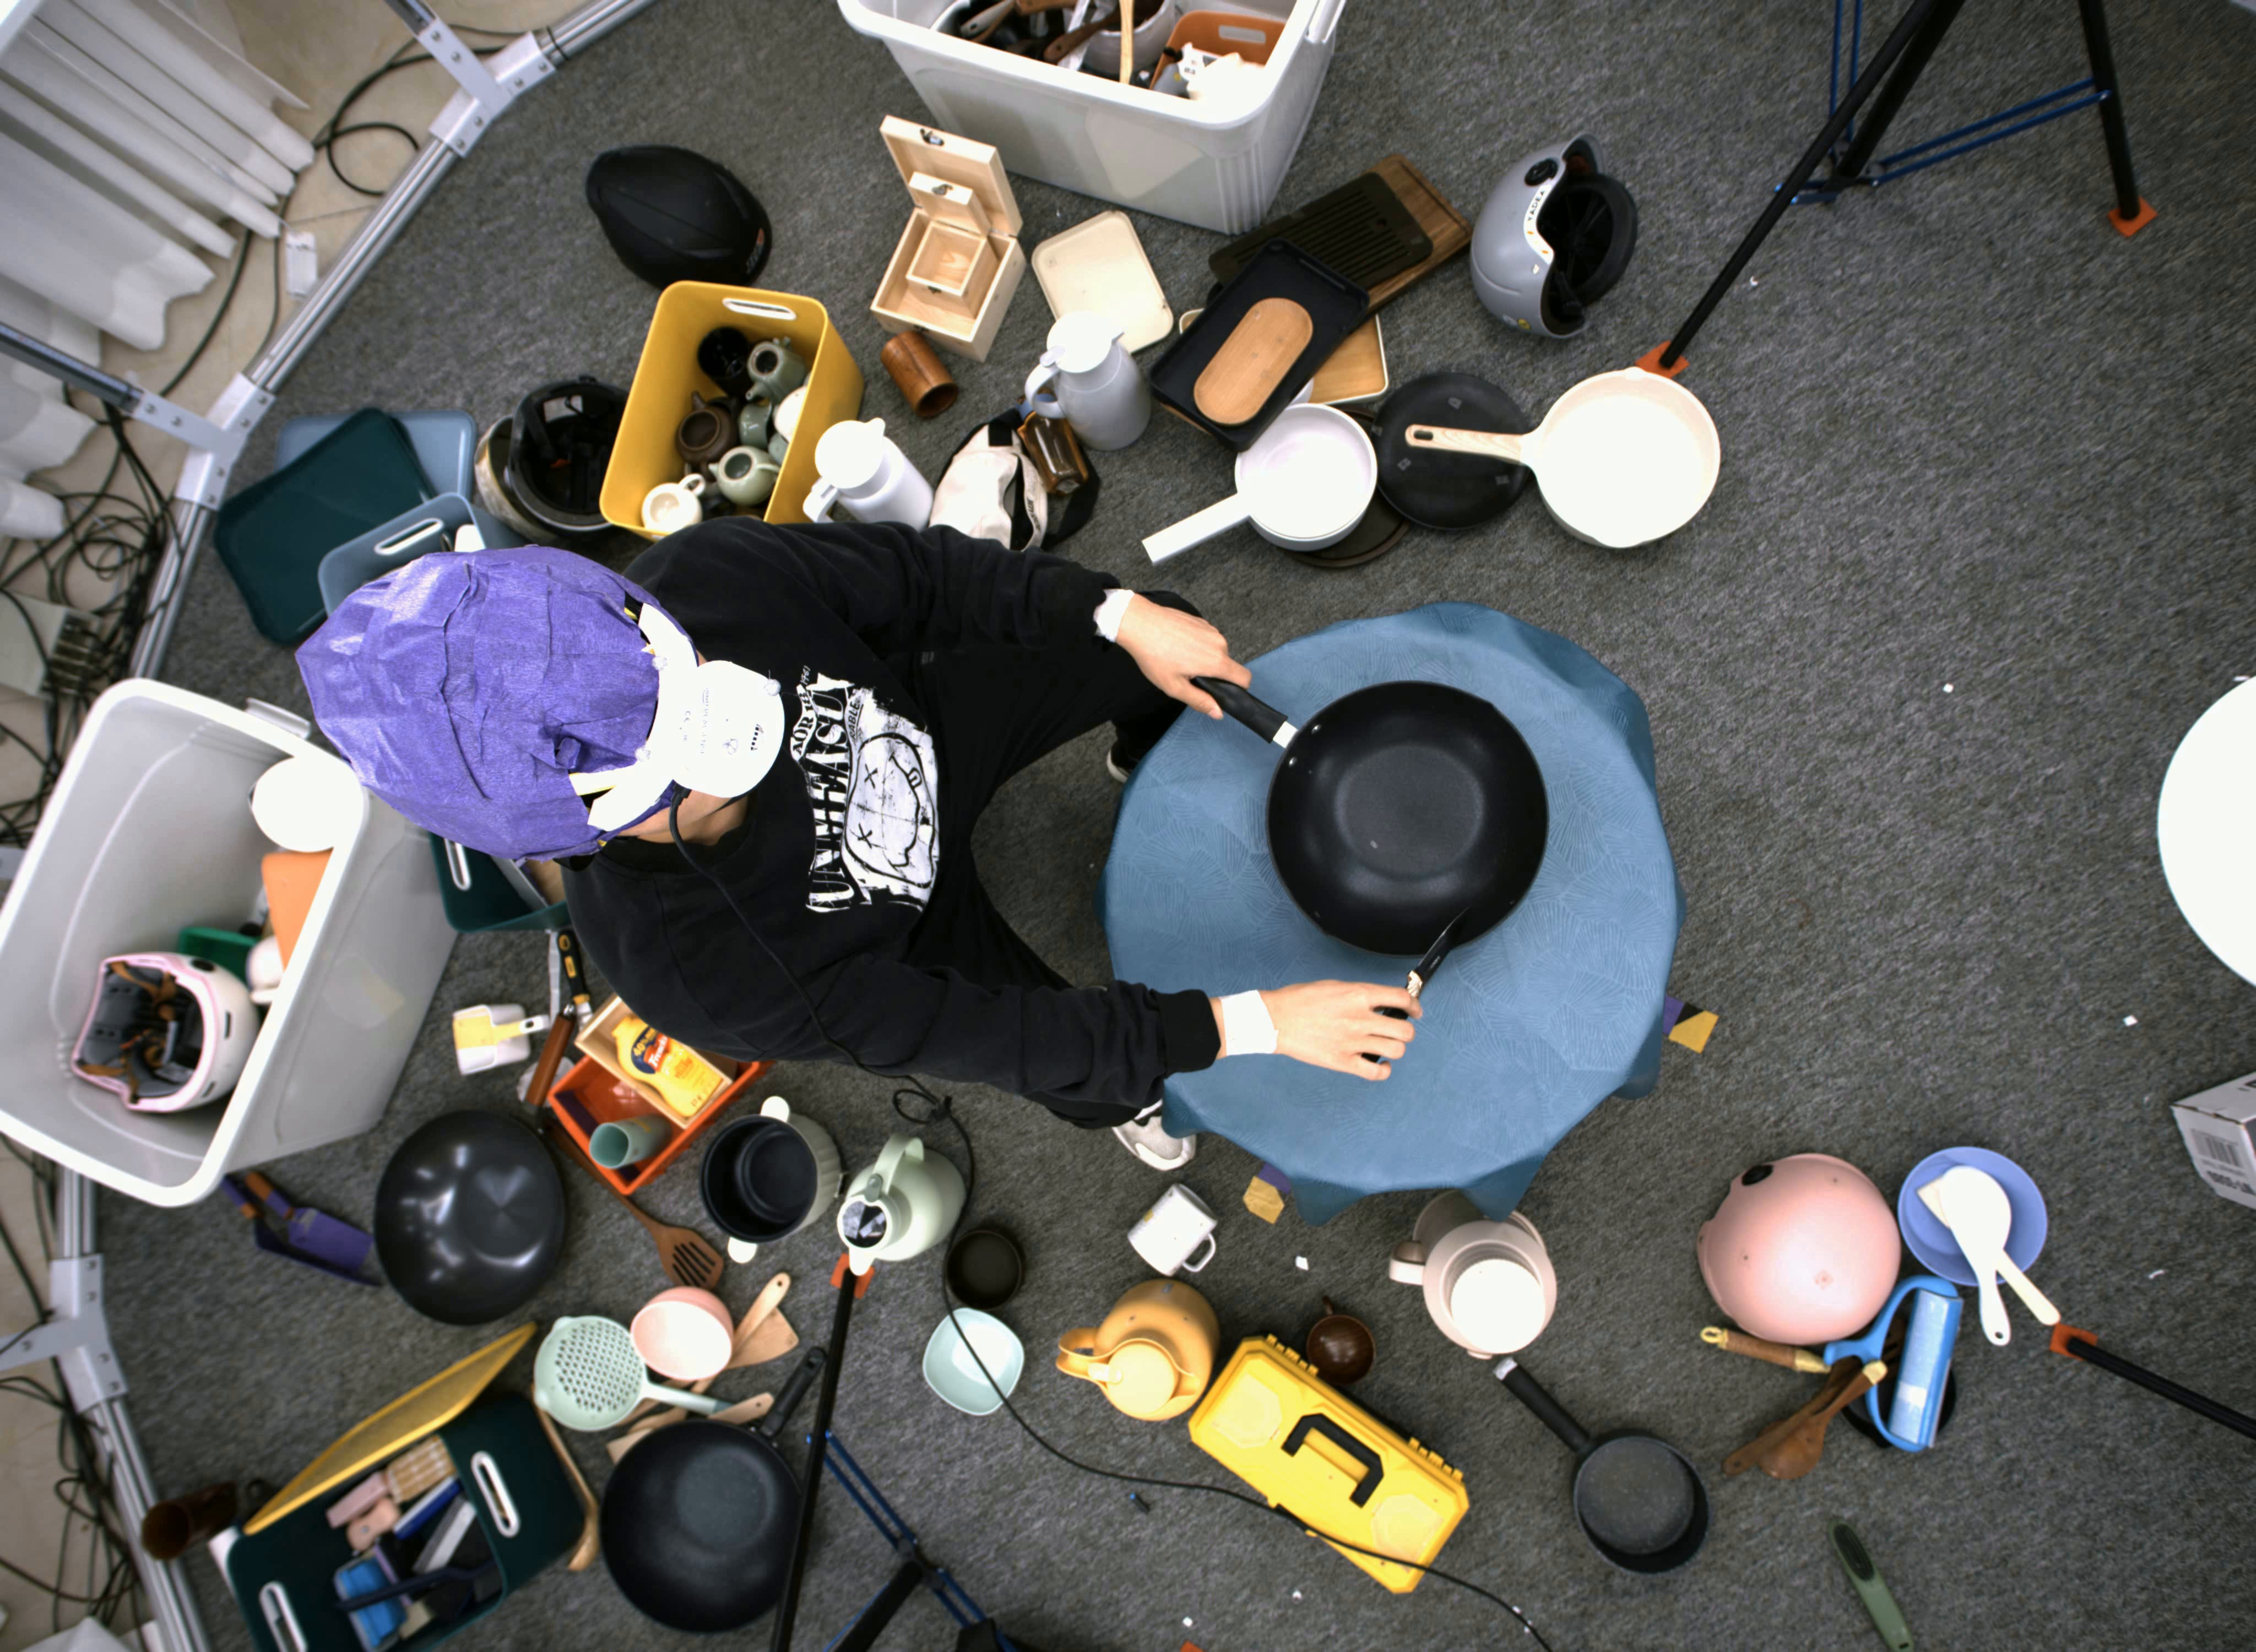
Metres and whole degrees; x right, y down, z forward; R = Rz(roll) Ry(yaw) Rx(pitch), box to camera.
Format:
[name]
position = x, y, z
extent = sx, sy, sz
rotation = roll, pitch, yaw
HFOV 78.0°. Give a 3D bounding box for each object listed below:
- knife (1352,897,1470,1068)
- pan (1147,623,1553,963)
[knife]
position = 0.282, 0.148, 1.350
extent = 0.026, 0.017, 0.221
rotation = 50, 63, -14
[pan]
position = 0.214, -0.062, 1.413
extent = 0.462, 0.085, 0.292
rotation = 36, 109, 7
